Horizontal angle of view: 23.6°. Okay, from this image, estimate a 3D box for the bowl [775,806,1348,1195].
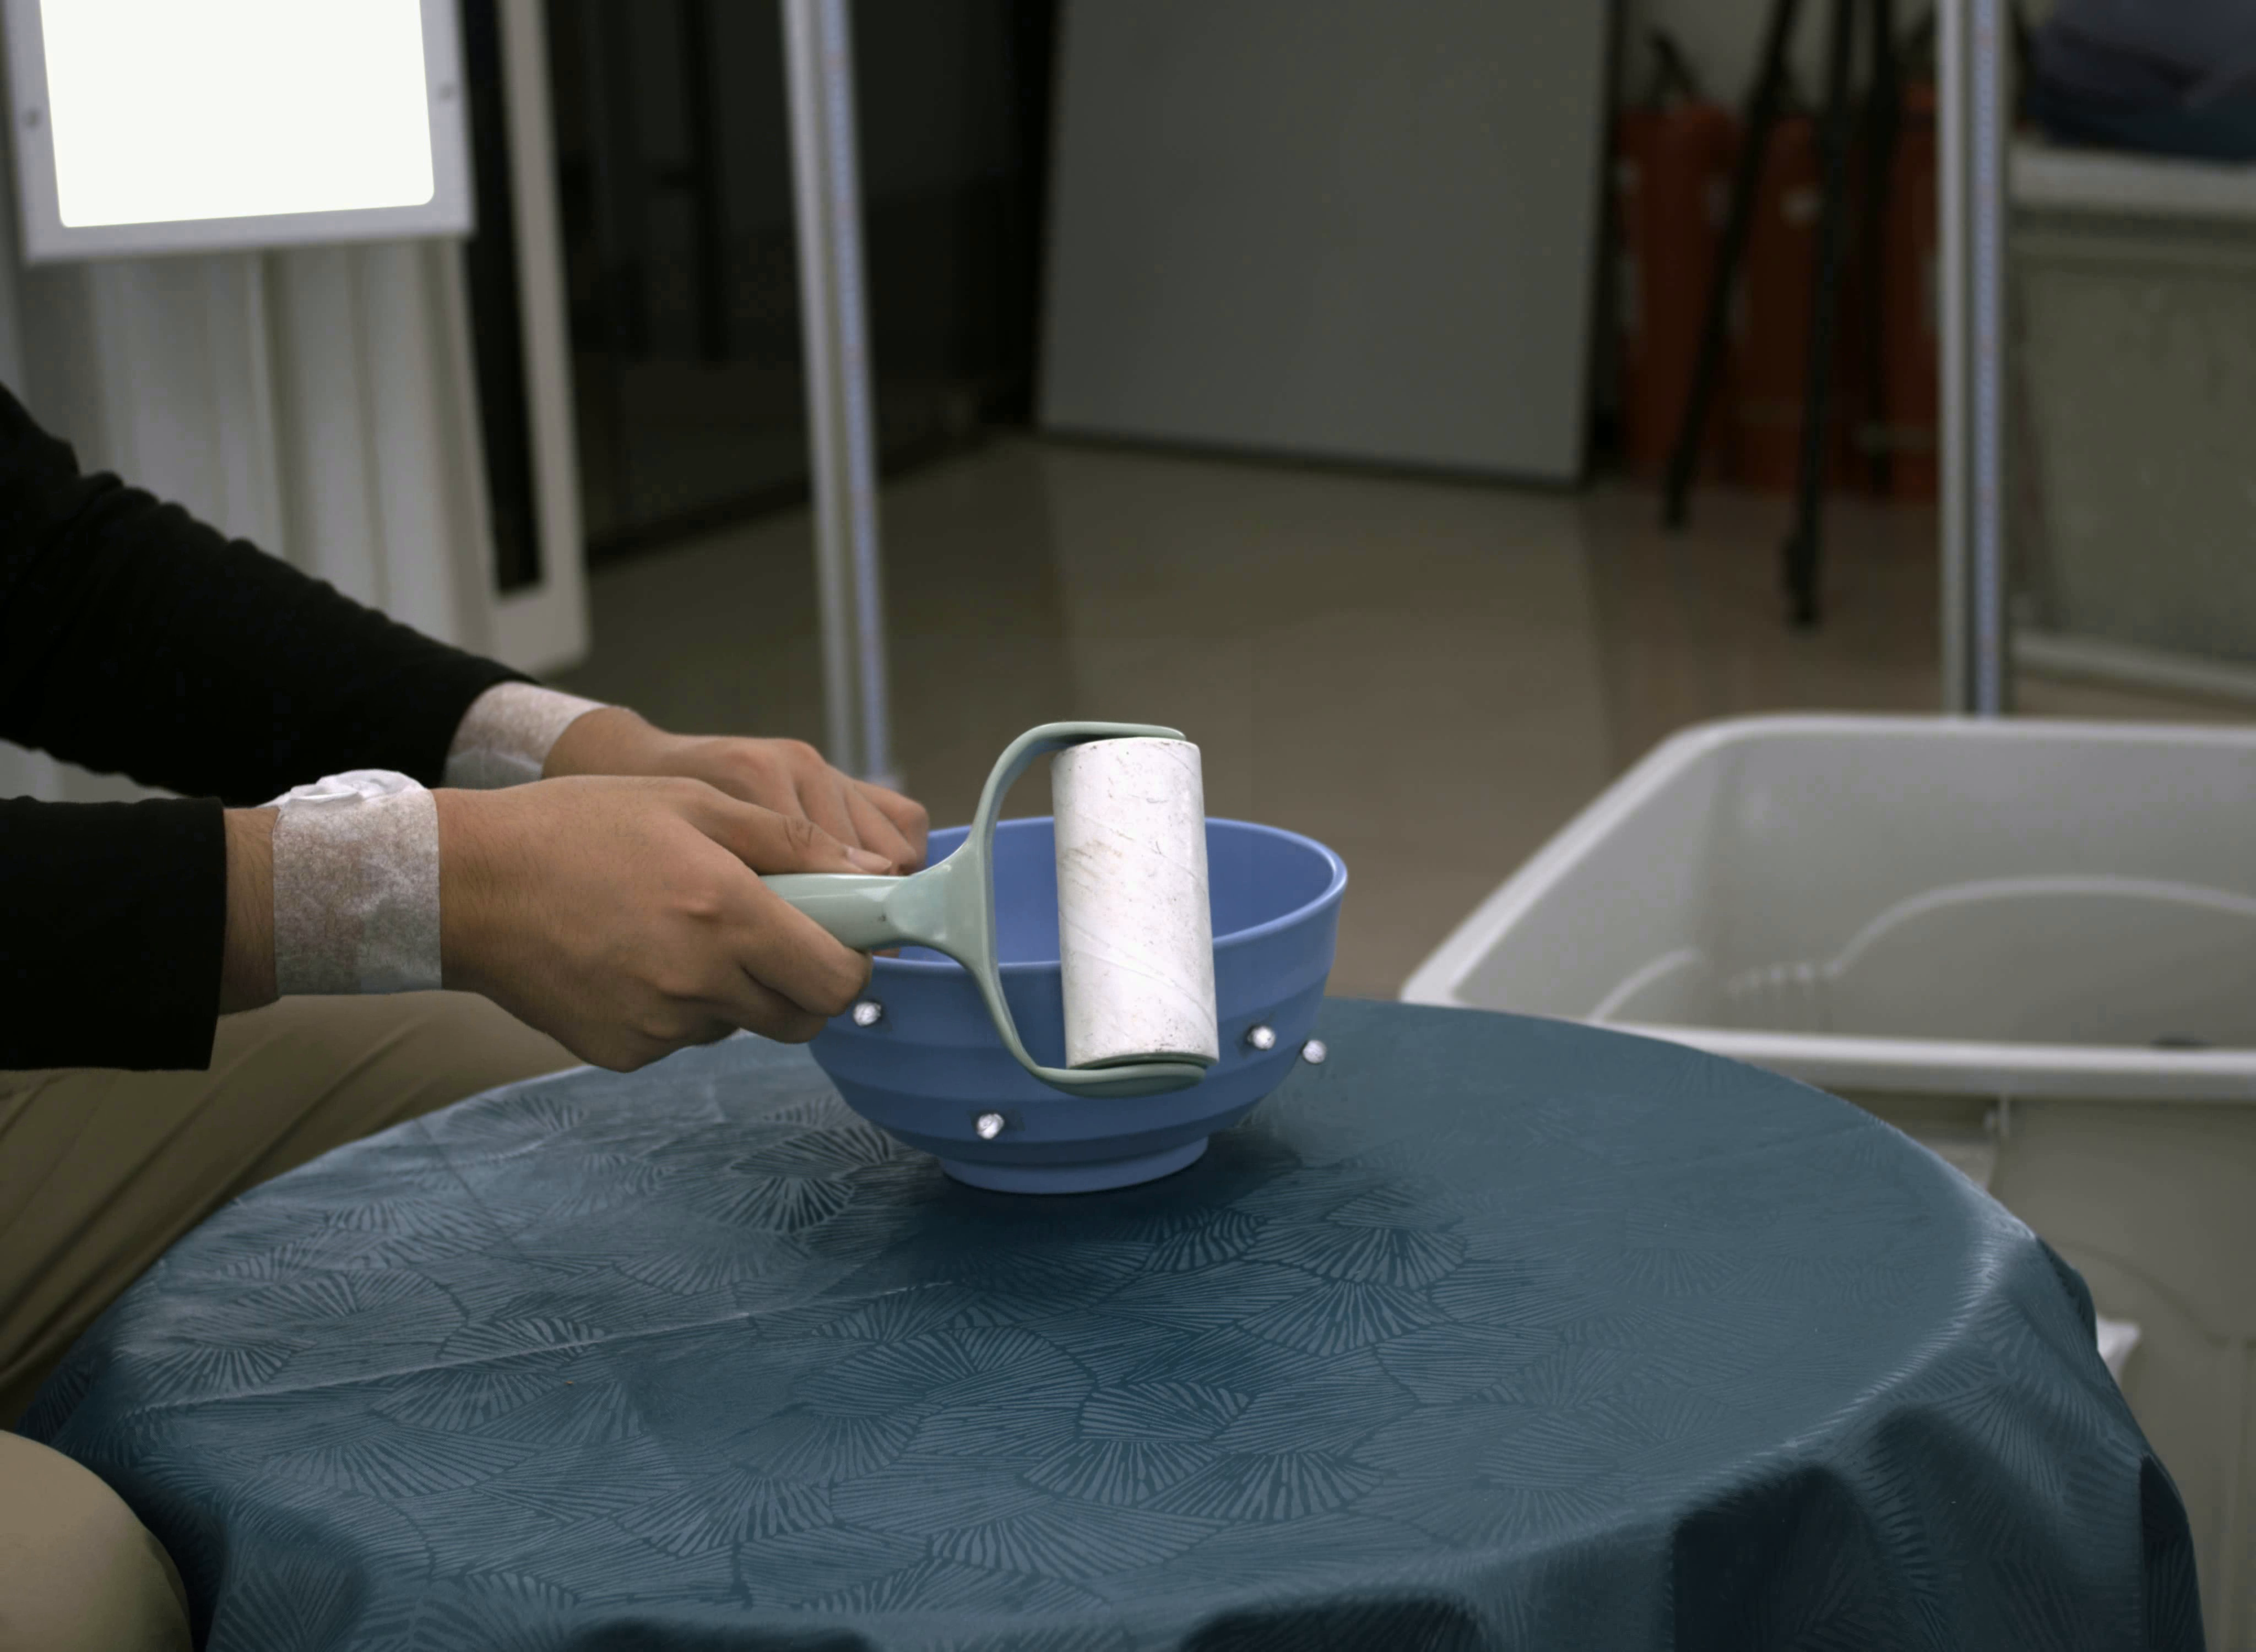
[{"bbox_3d":[-0.020,0.063,1.802,0.194,0.096,0.197,-5,15,0],"label":"bowl"}]

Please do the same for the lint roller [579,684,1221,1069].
[{"bbox_3d":[-0.072,0.019,1.659,0.195,0.118,0.048,-3,-10,-2],"label":"lint roller"}]
